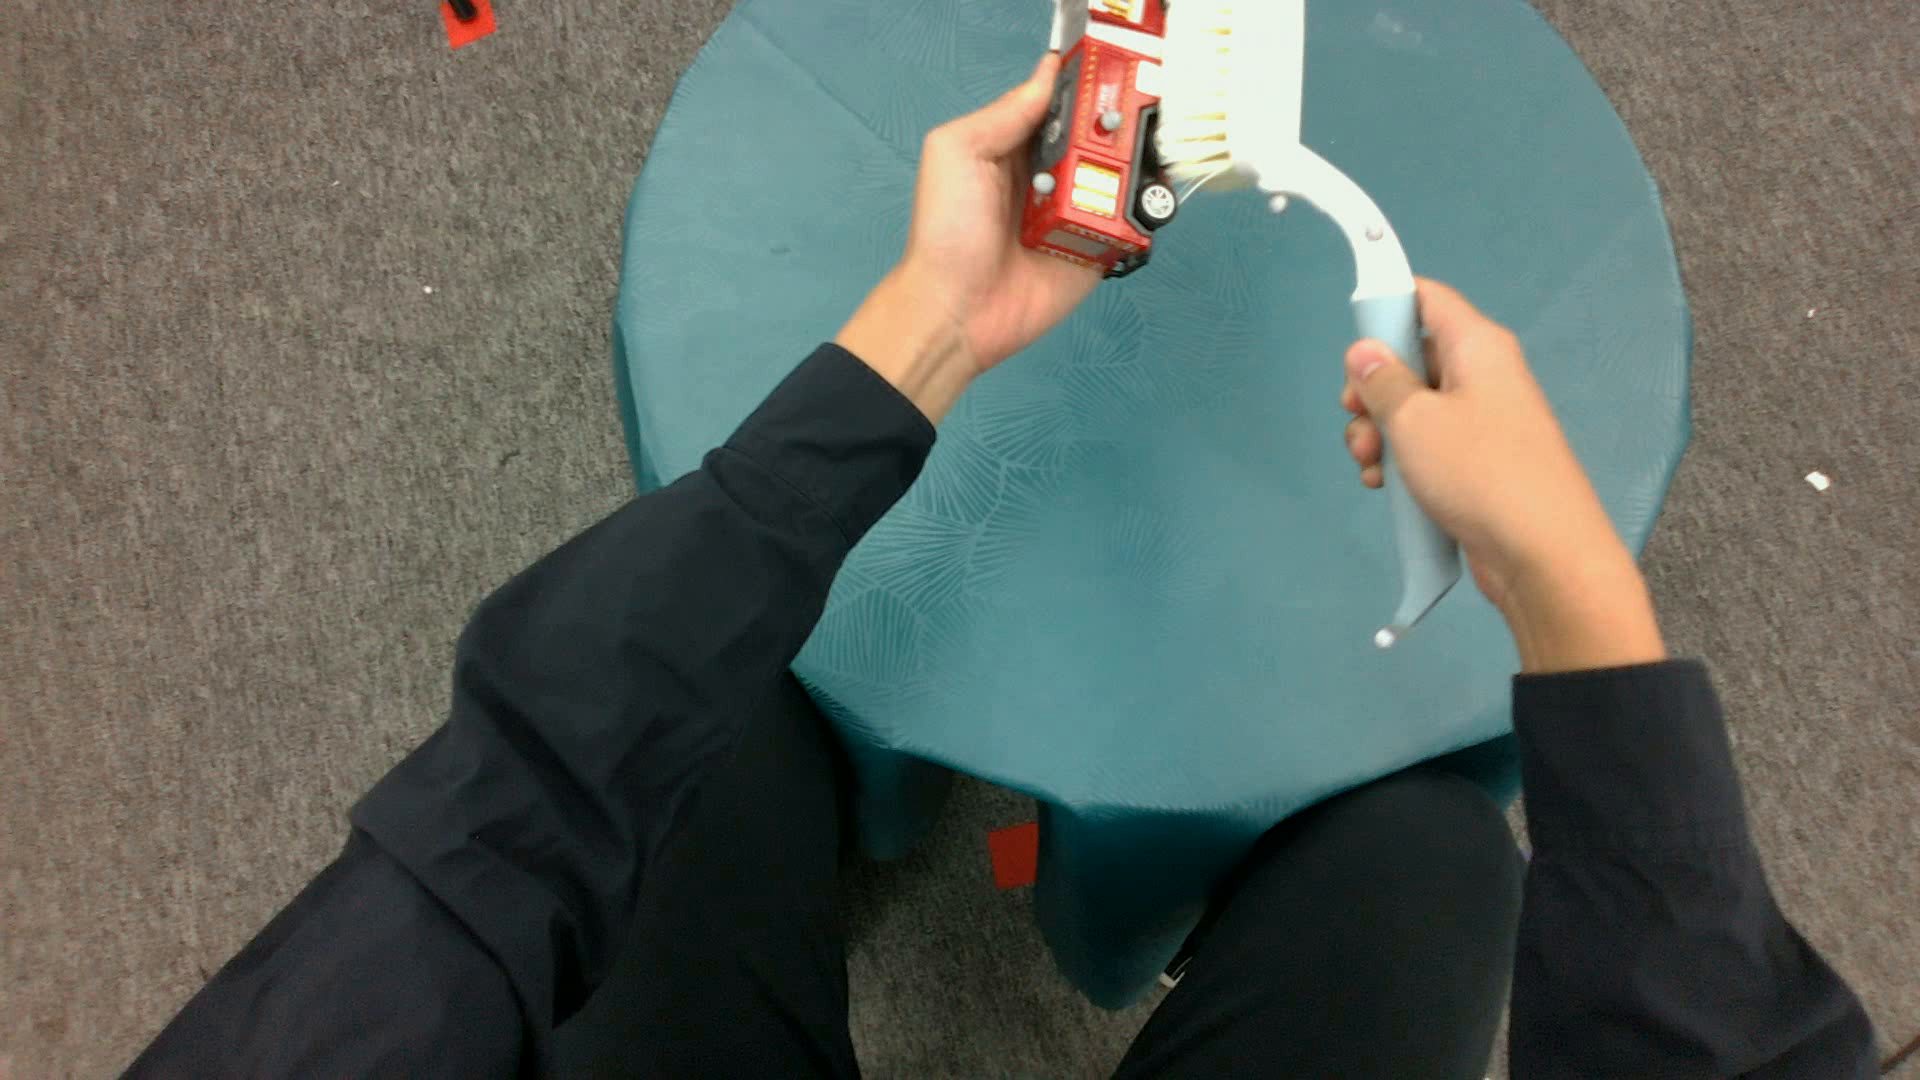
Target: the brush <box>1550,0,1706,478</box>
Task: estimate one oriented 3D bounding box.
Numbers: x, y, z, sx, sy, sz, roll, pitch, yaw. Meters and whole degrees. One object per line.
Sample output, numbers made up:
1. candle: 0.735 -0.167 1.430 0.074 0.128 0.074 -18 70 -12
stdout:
1. brush: 0.223 -0.187 0.512 0.083 0.084 0.325 3 100 -24
